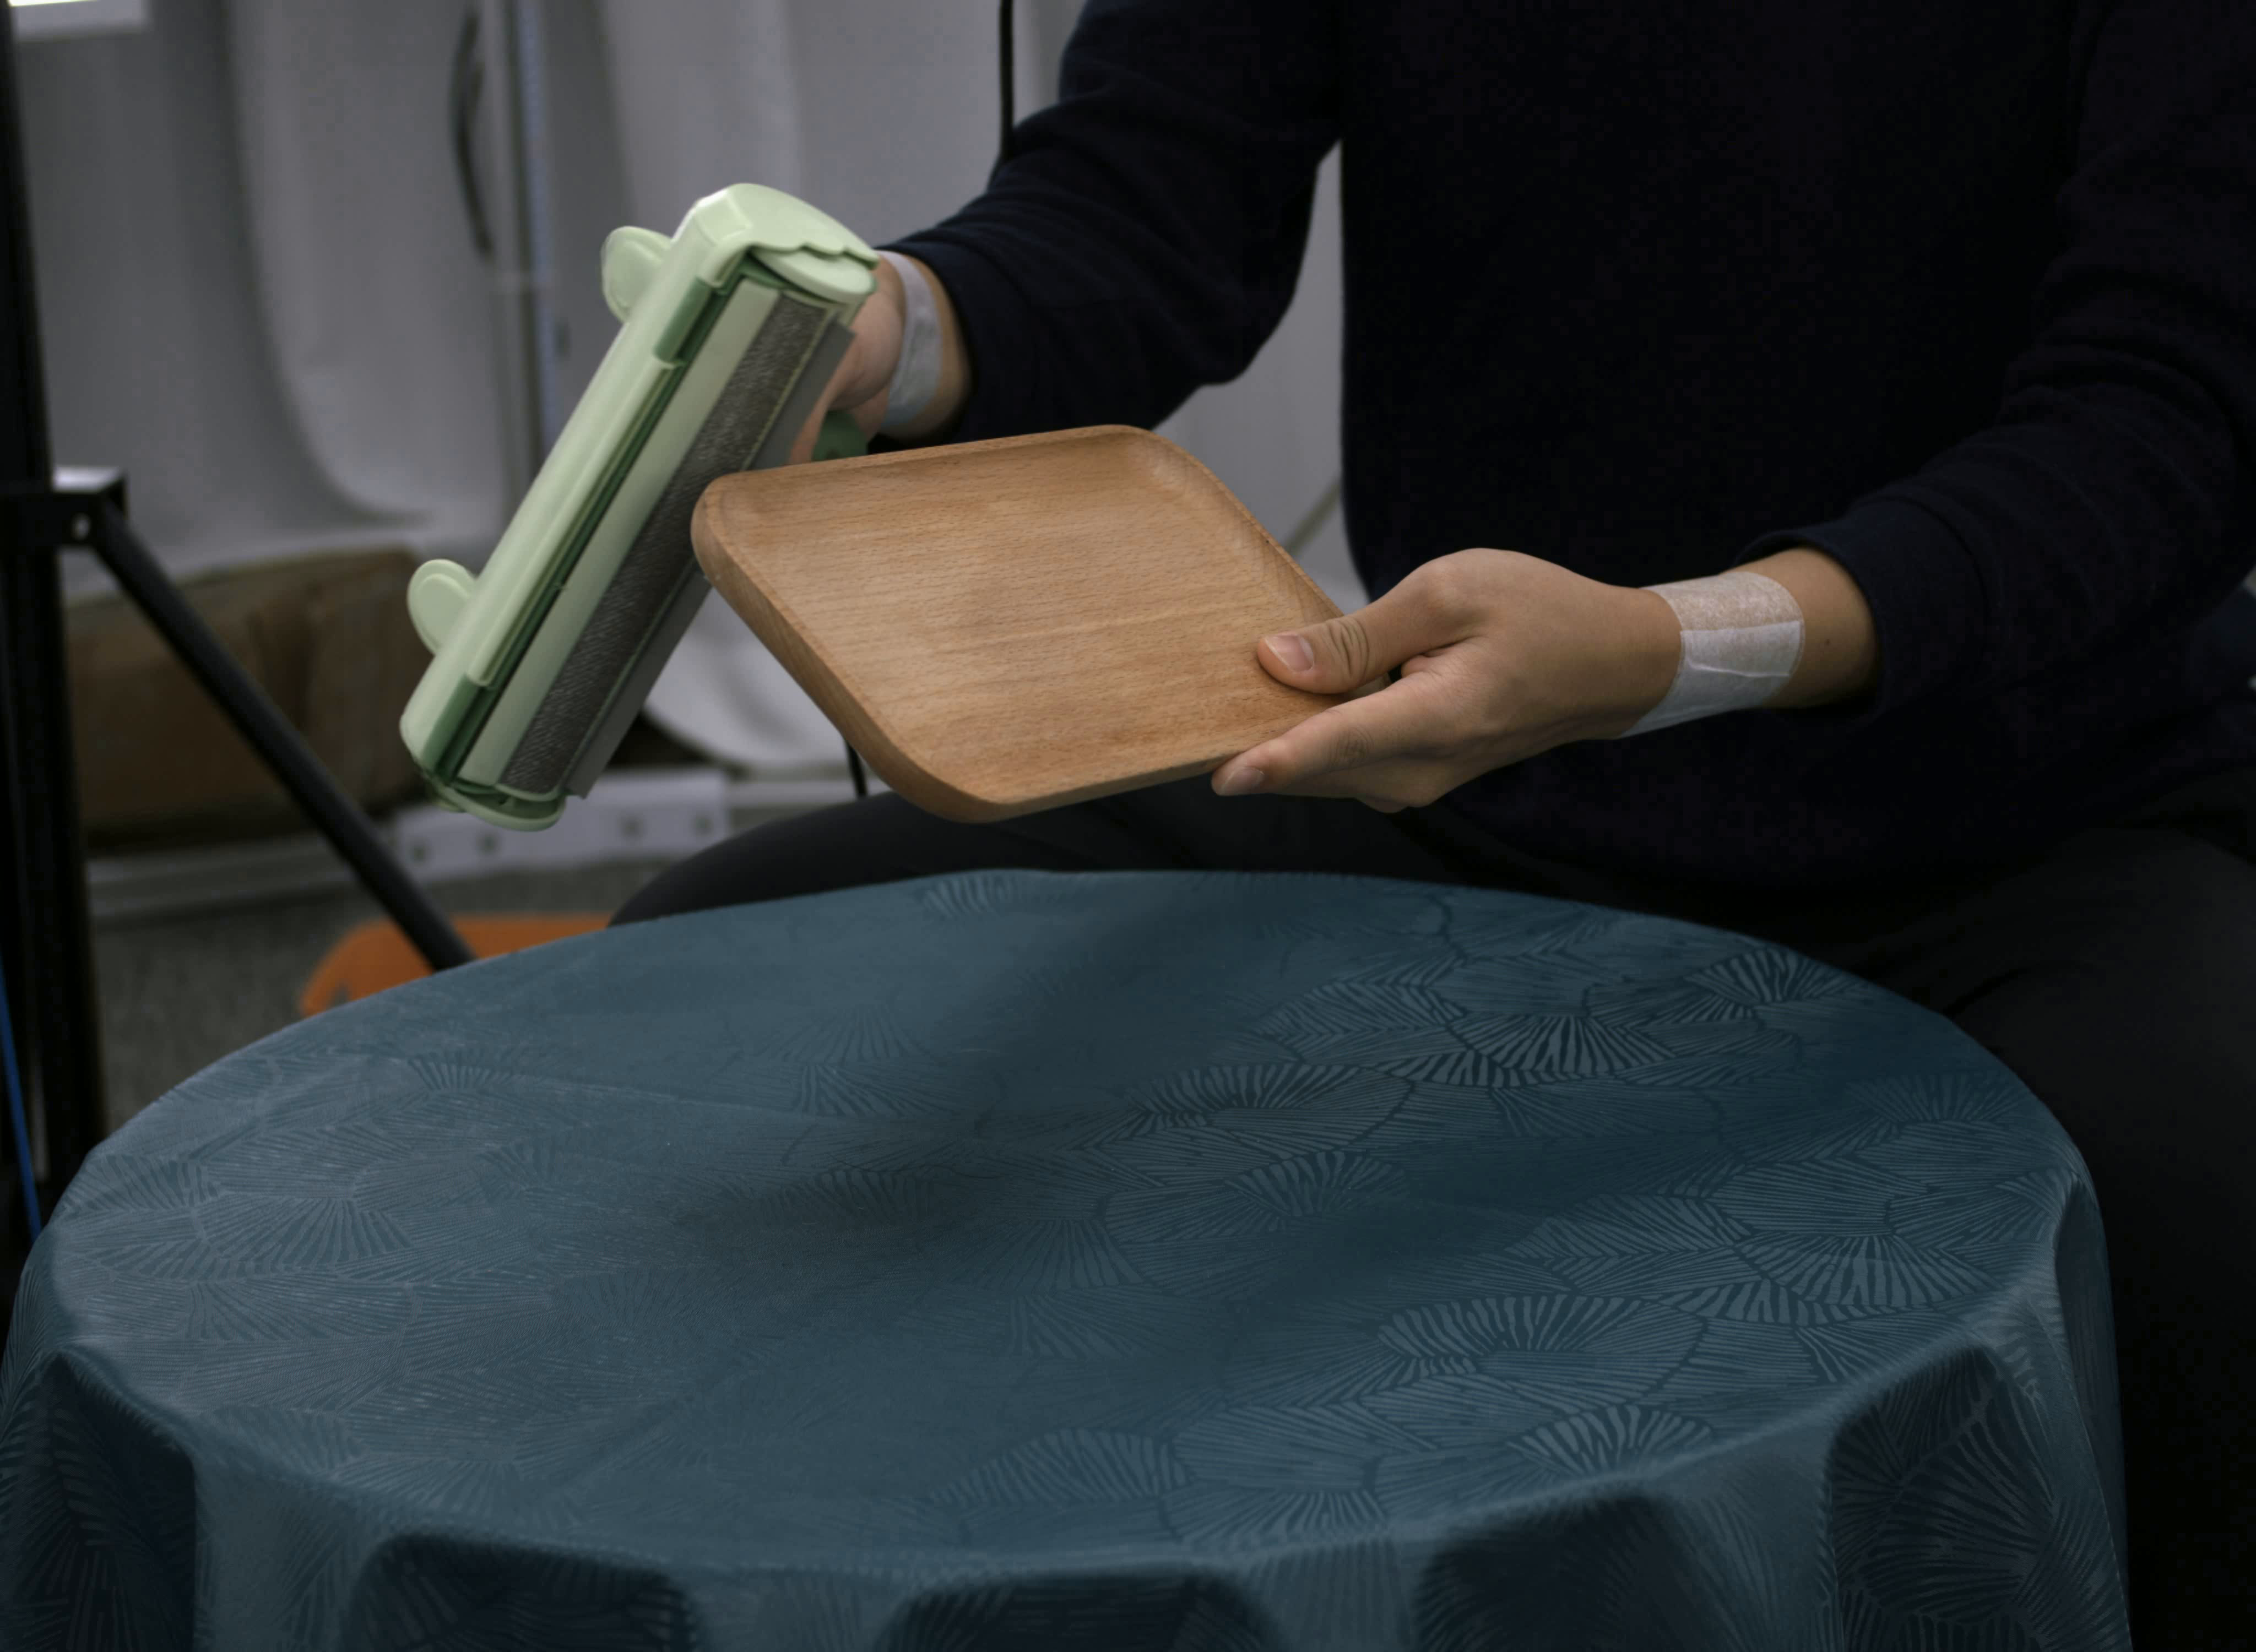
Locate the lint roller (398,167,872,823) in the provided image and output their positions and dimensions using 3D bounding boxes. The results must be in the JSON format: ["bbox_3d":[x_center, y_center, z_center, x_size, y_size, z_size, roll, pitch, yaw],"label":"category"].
[{"bbox_3d":[-0.138,-0.112,1.551,0.082,0.200,0.183,32,20,-2],"label":"lint roller"}]

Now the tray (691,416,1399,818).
[{"bbox_3d":[-0.020,-0.062,1.519,0.132,0.023,0.245,51,30,18],"label":"tray"}]
